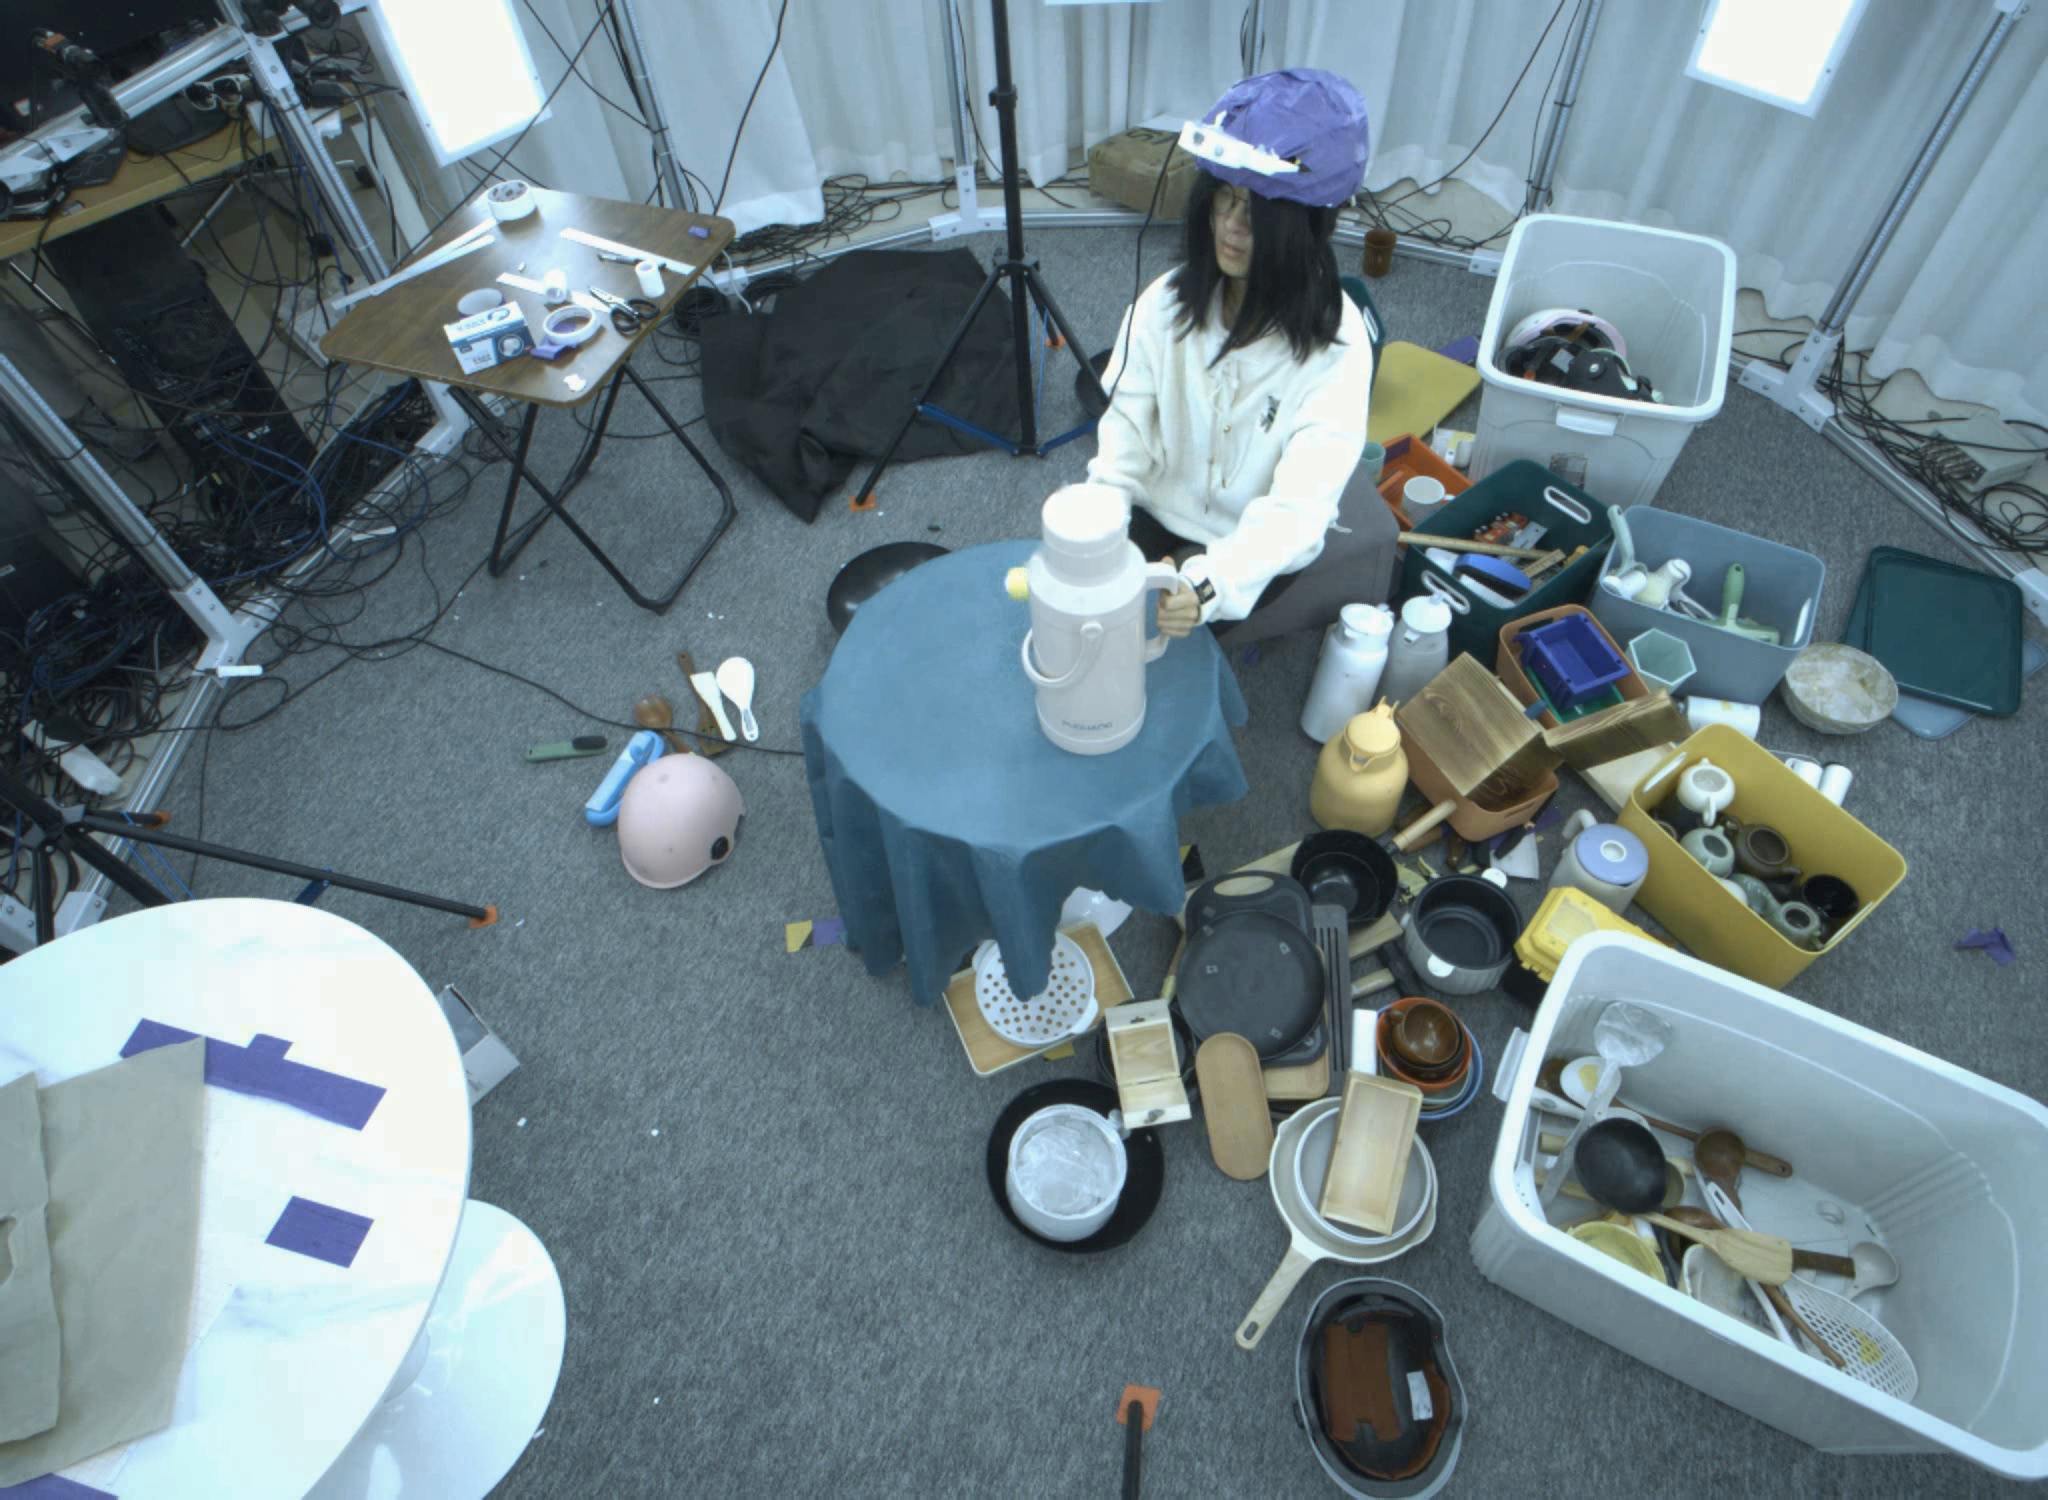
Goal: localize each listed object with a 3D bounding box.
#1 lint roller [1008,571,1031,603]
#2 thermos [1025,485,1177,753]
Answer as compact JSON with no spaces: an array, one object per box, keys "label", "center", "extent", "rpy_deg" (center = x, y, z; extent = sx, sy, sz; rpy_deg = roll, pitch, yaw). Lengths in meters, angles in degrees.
[{"label":"lint roller","center":[0.077,-0.289,1.877],"extent":[0.172,0.052,0.191],"rpy_deg":[0,41,15]},{"label":"thermos","center":[0.100,-0.172,1.662],"extent":[0.207,0.411,0.173],"rpy_deg":[-4,54,1]}]
